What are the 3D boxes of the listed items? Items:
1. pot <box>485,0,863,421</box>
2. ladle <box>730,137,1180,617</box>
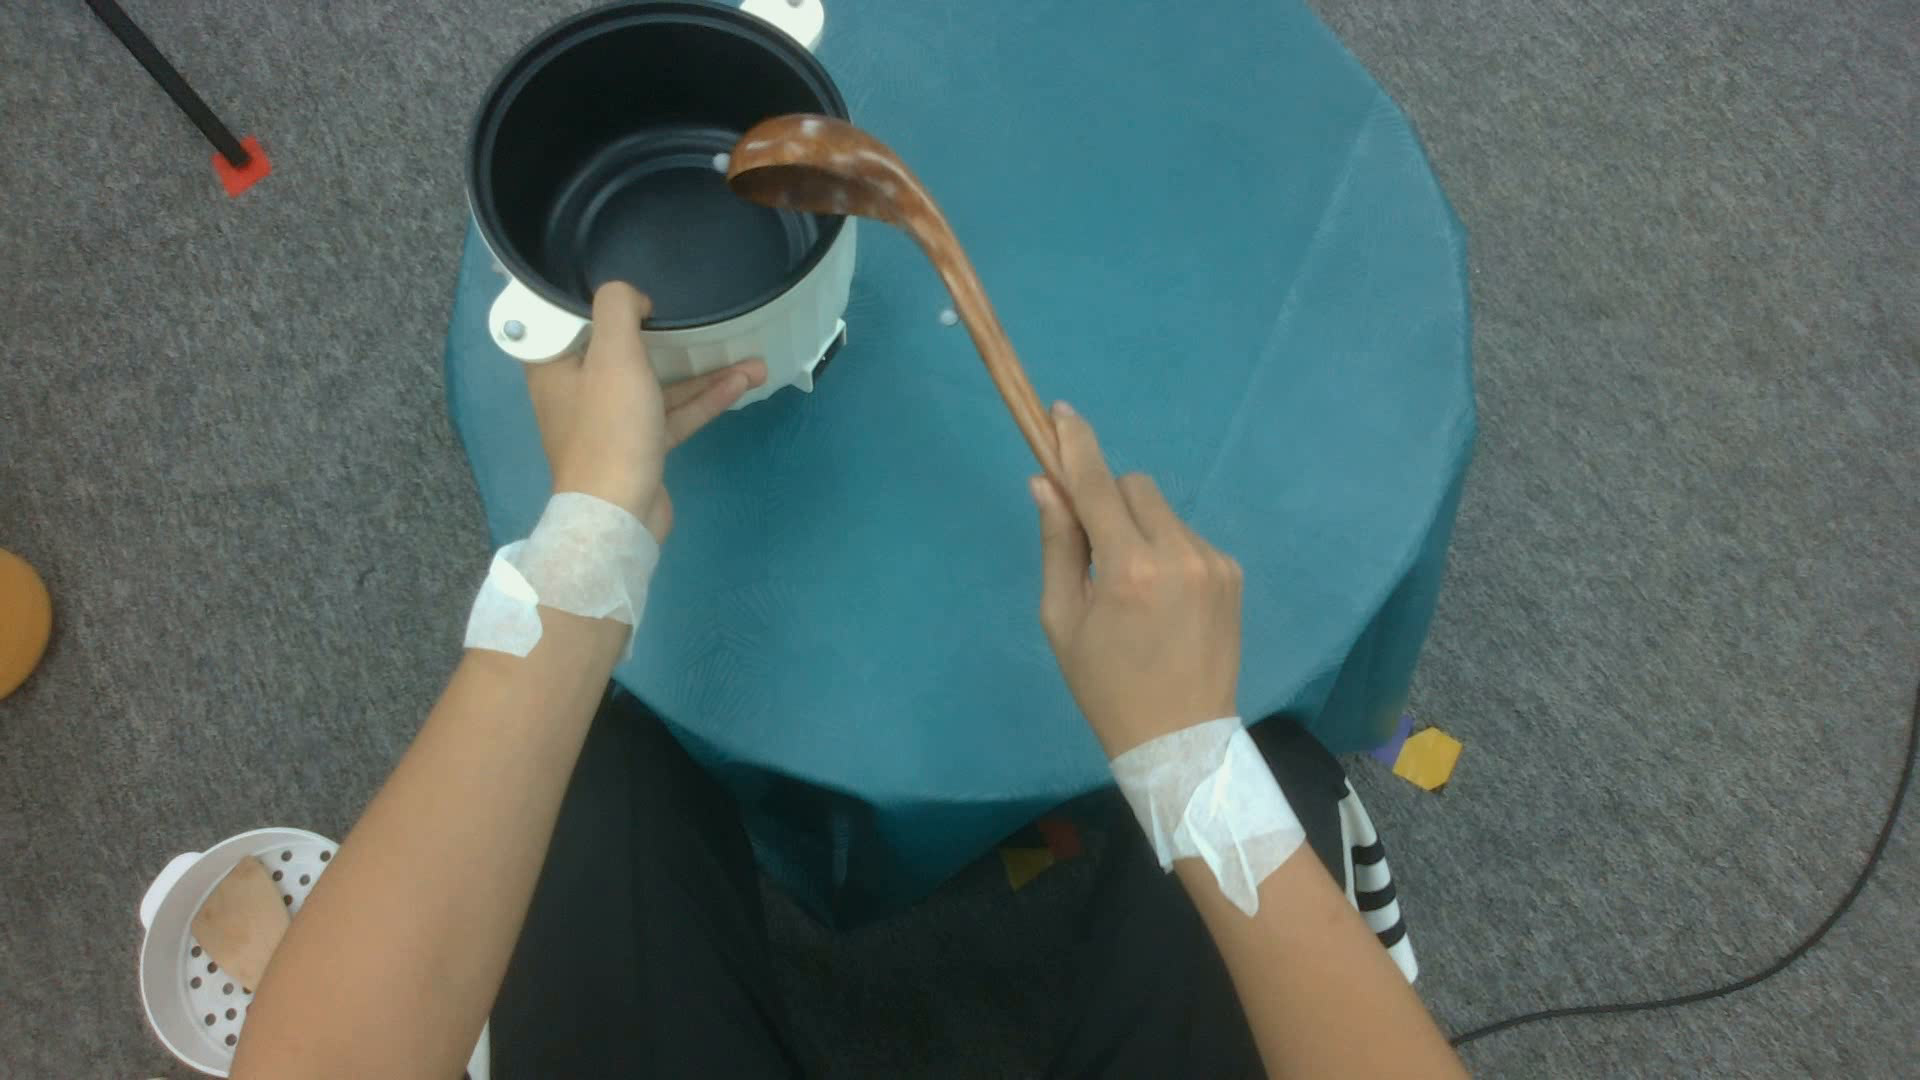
[{"bbox_3d":[-0.147,-0.160,0.728,0.190,0.142,0.241,31,71,3],"label":"pot"},{"bbox_3d":[-0.006,-0.066,0.616,0.076,0.082,0.274,-32,89,9],"label":"ladle"}]
